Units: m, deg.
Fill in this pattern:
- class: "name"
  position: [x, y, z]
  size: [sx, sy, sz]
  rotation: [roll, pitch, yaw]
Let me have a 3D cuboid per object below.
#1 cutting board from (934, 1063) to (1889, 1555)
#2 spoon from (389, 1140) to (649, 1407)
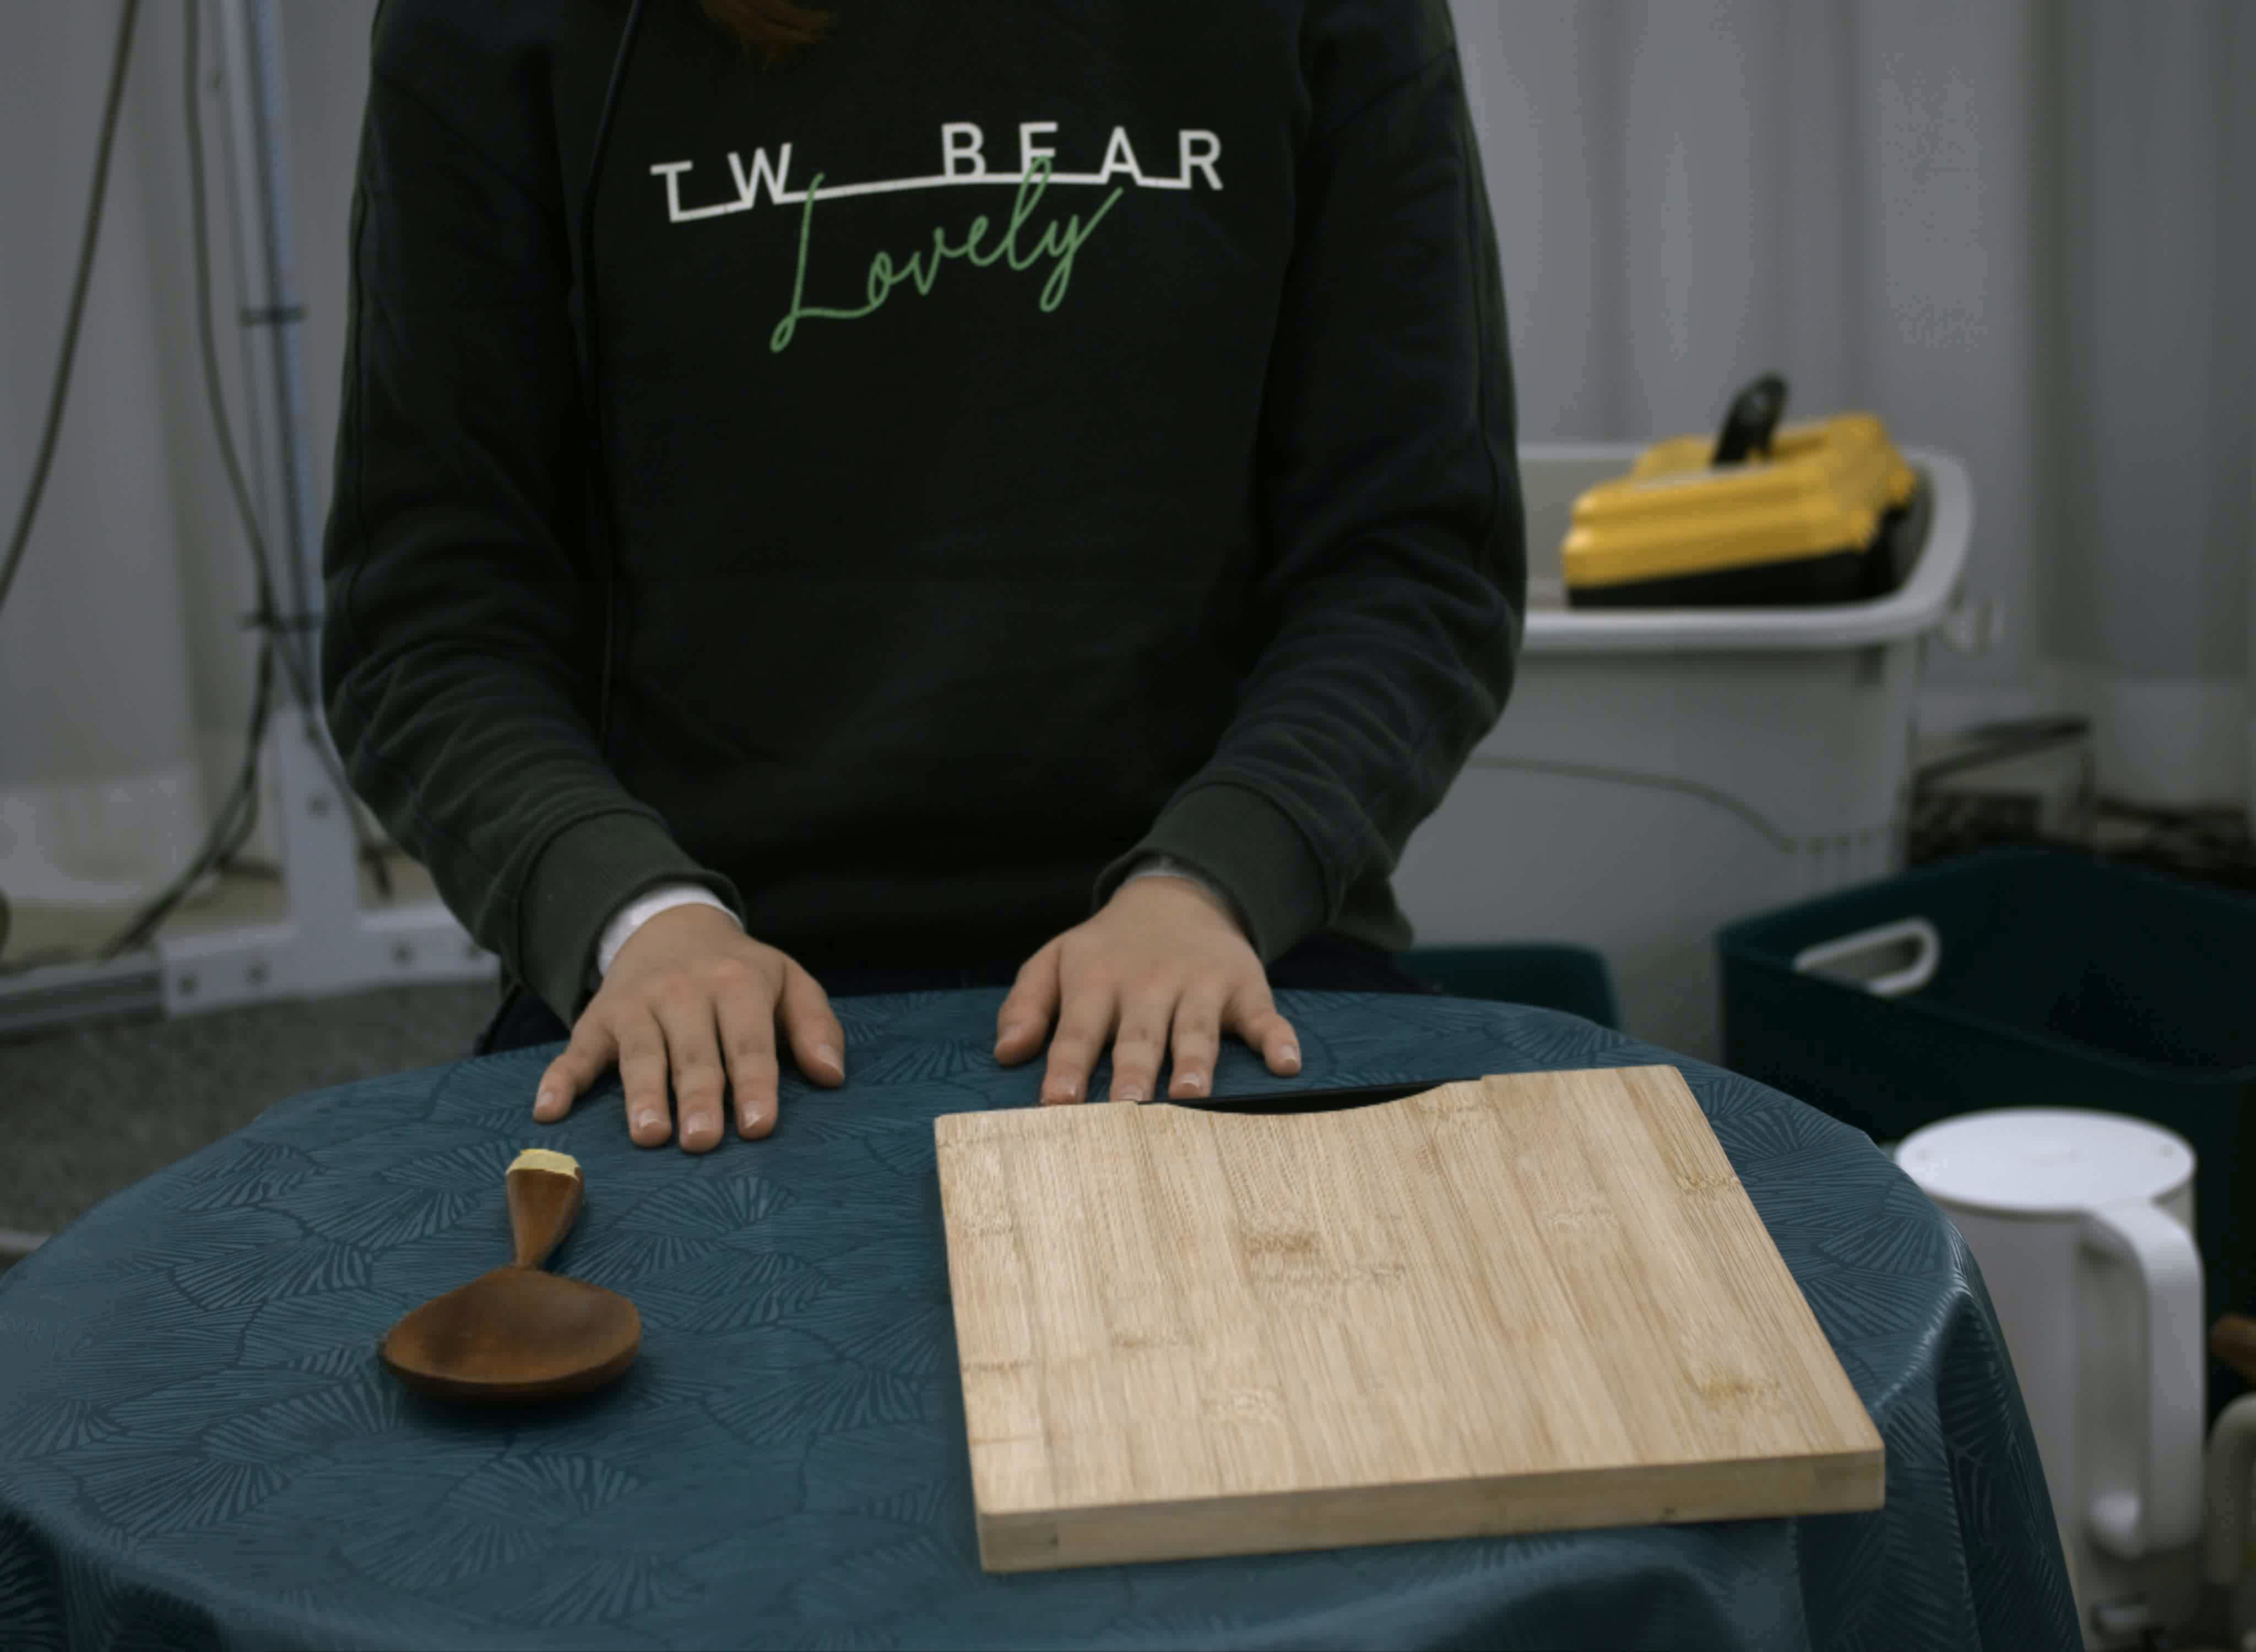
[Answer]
- class: "cutting board"
  position: [0.069, 0.135, 1.594]
  size: [0.250, 0.023, 0.351]
  rotation: [-3, 15, -4]
- class: "spoon"
  position: [-0.178, 0.135, 1.637]
  size: [0.075, 0.017, 0.217]
  rotation: [-4, 15, -2]
